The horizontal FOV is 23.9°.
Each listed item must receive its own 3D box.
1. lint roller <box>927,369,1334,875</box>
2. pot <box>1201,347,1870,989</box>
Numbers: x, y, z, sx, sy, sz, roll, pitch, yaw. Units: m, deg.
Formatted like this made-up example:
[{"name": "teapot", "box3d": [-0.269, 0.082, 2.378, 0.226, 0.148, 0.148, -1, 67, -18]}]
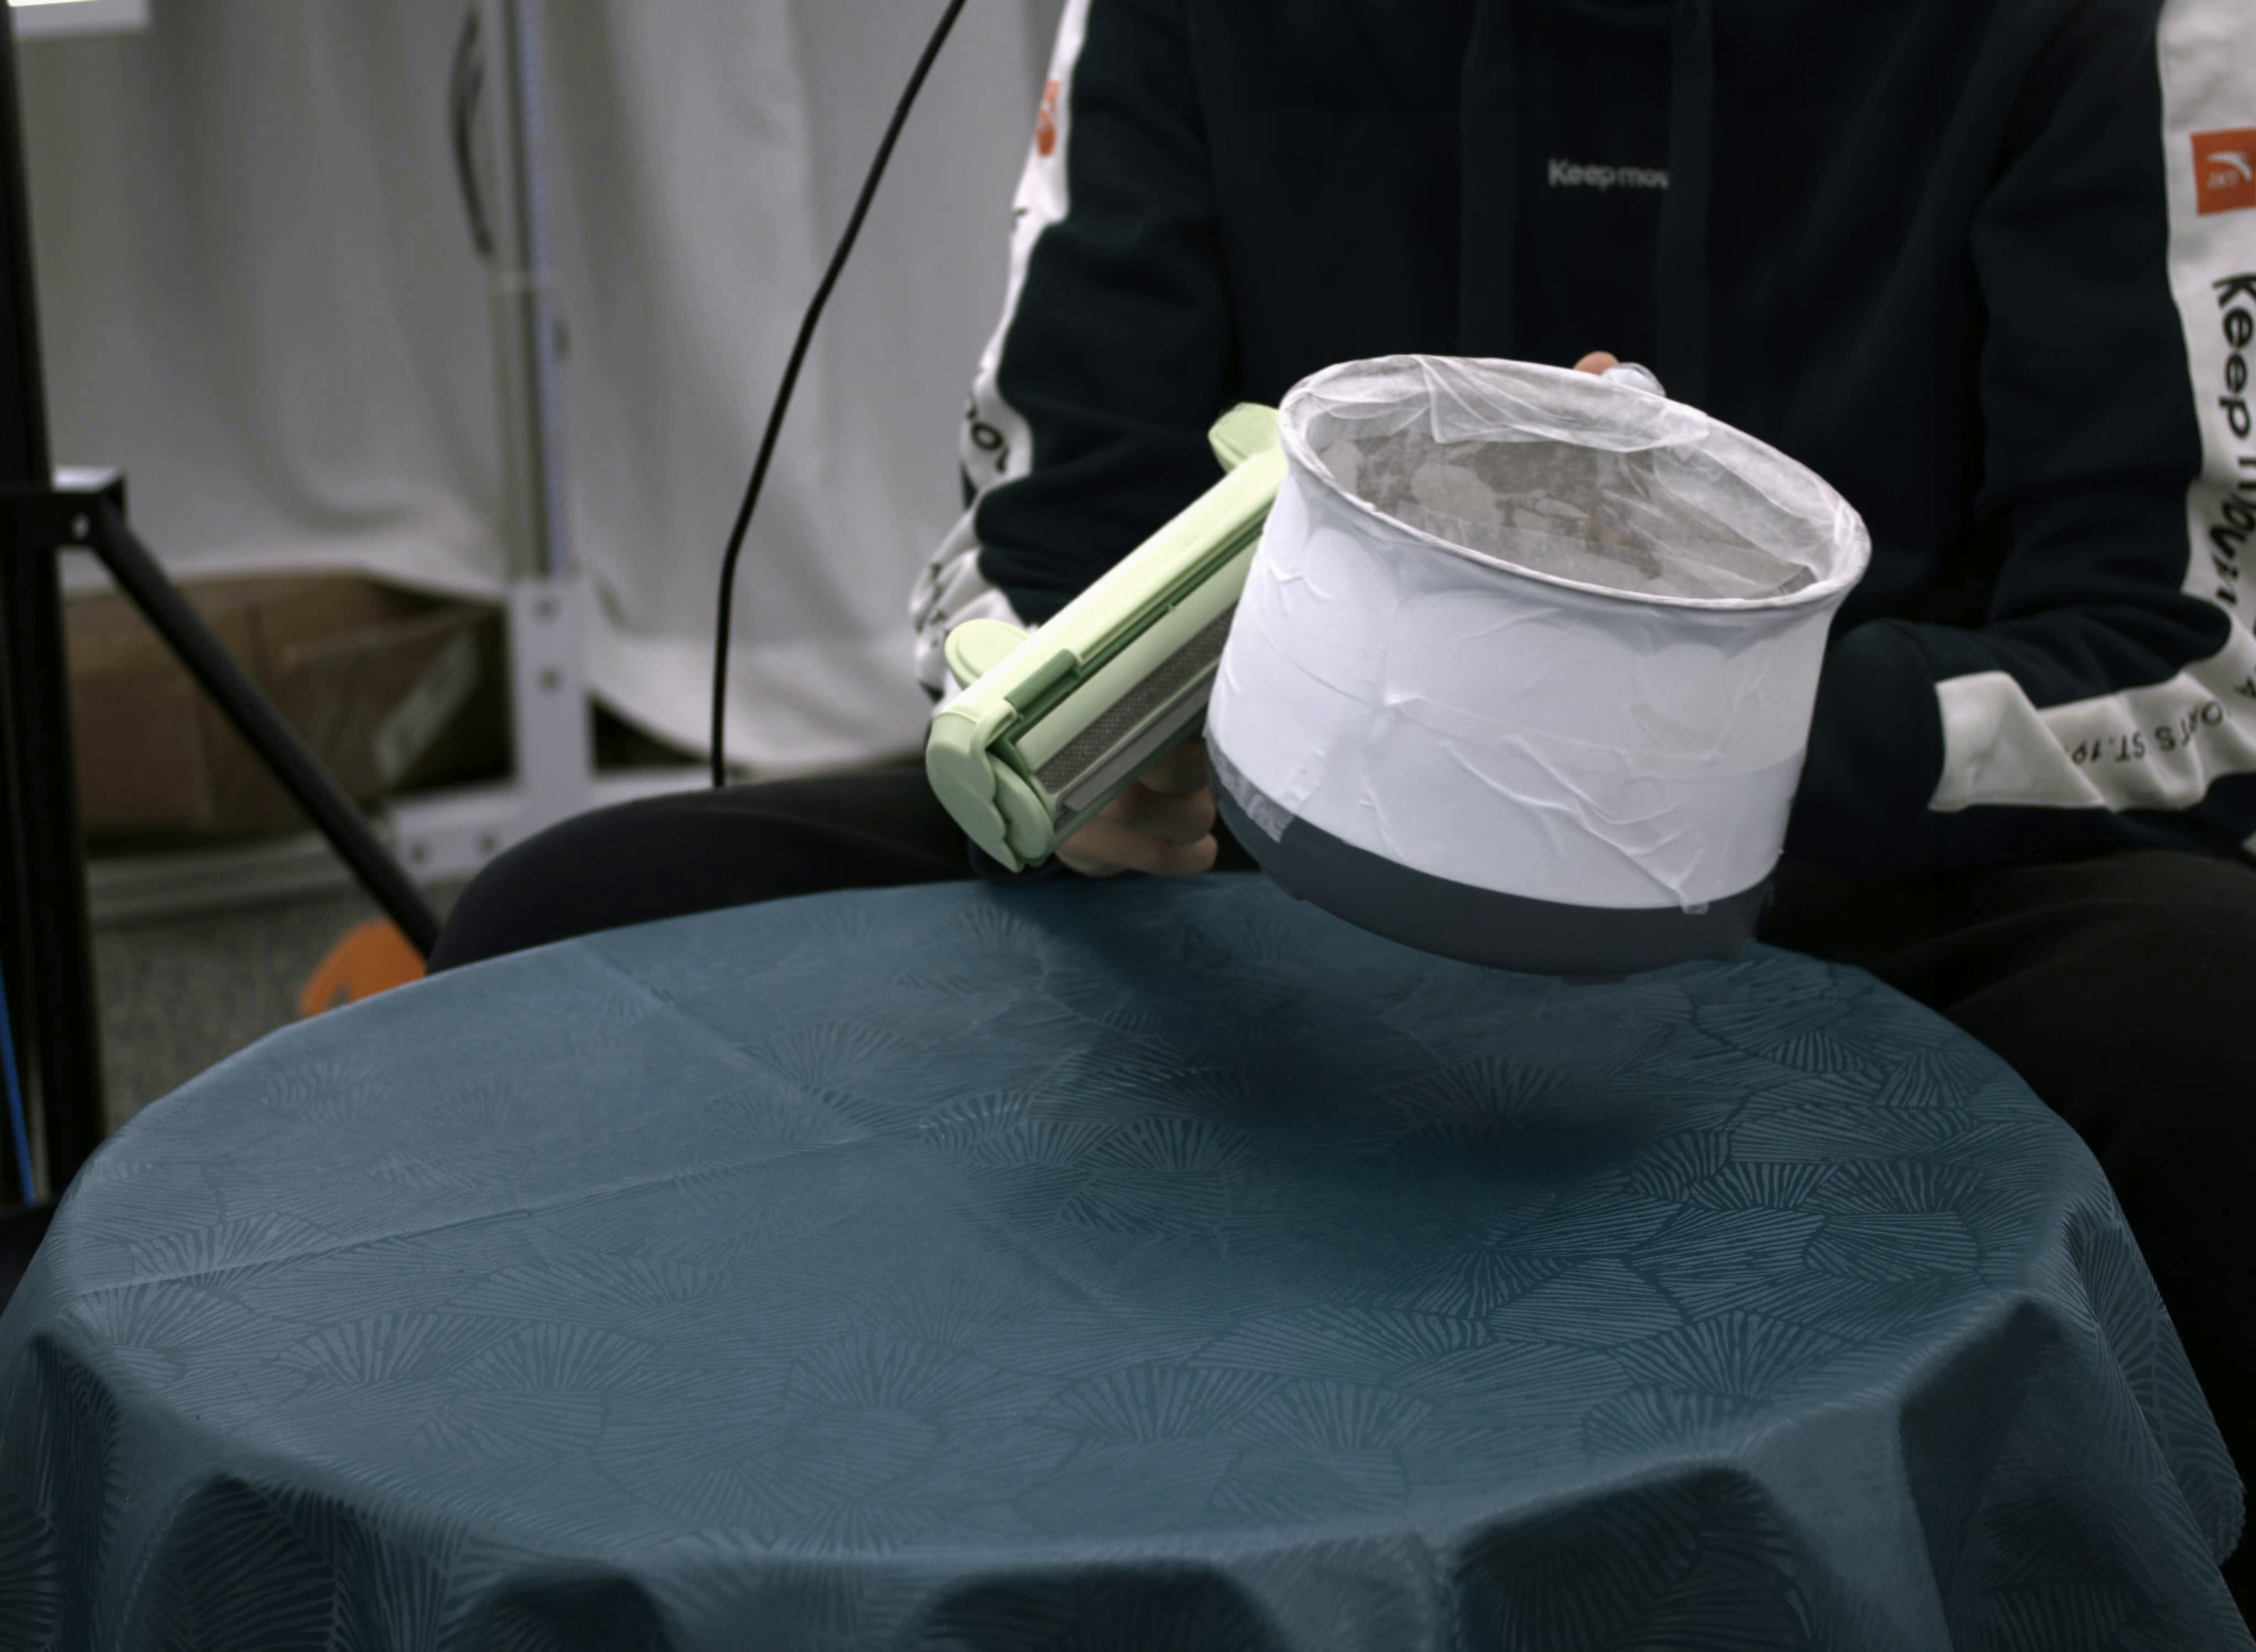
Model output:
[{"name": "lint roller", "box3d": [0.004, -0.053, 1.692, 0.197, 0.082, 0.184, -42, -6, -21]}, {"name": "pot", "box3d": [0.122, -0.056, 1.588, 0.179, 0.137, 0.232, 17, 25, 9]}]
